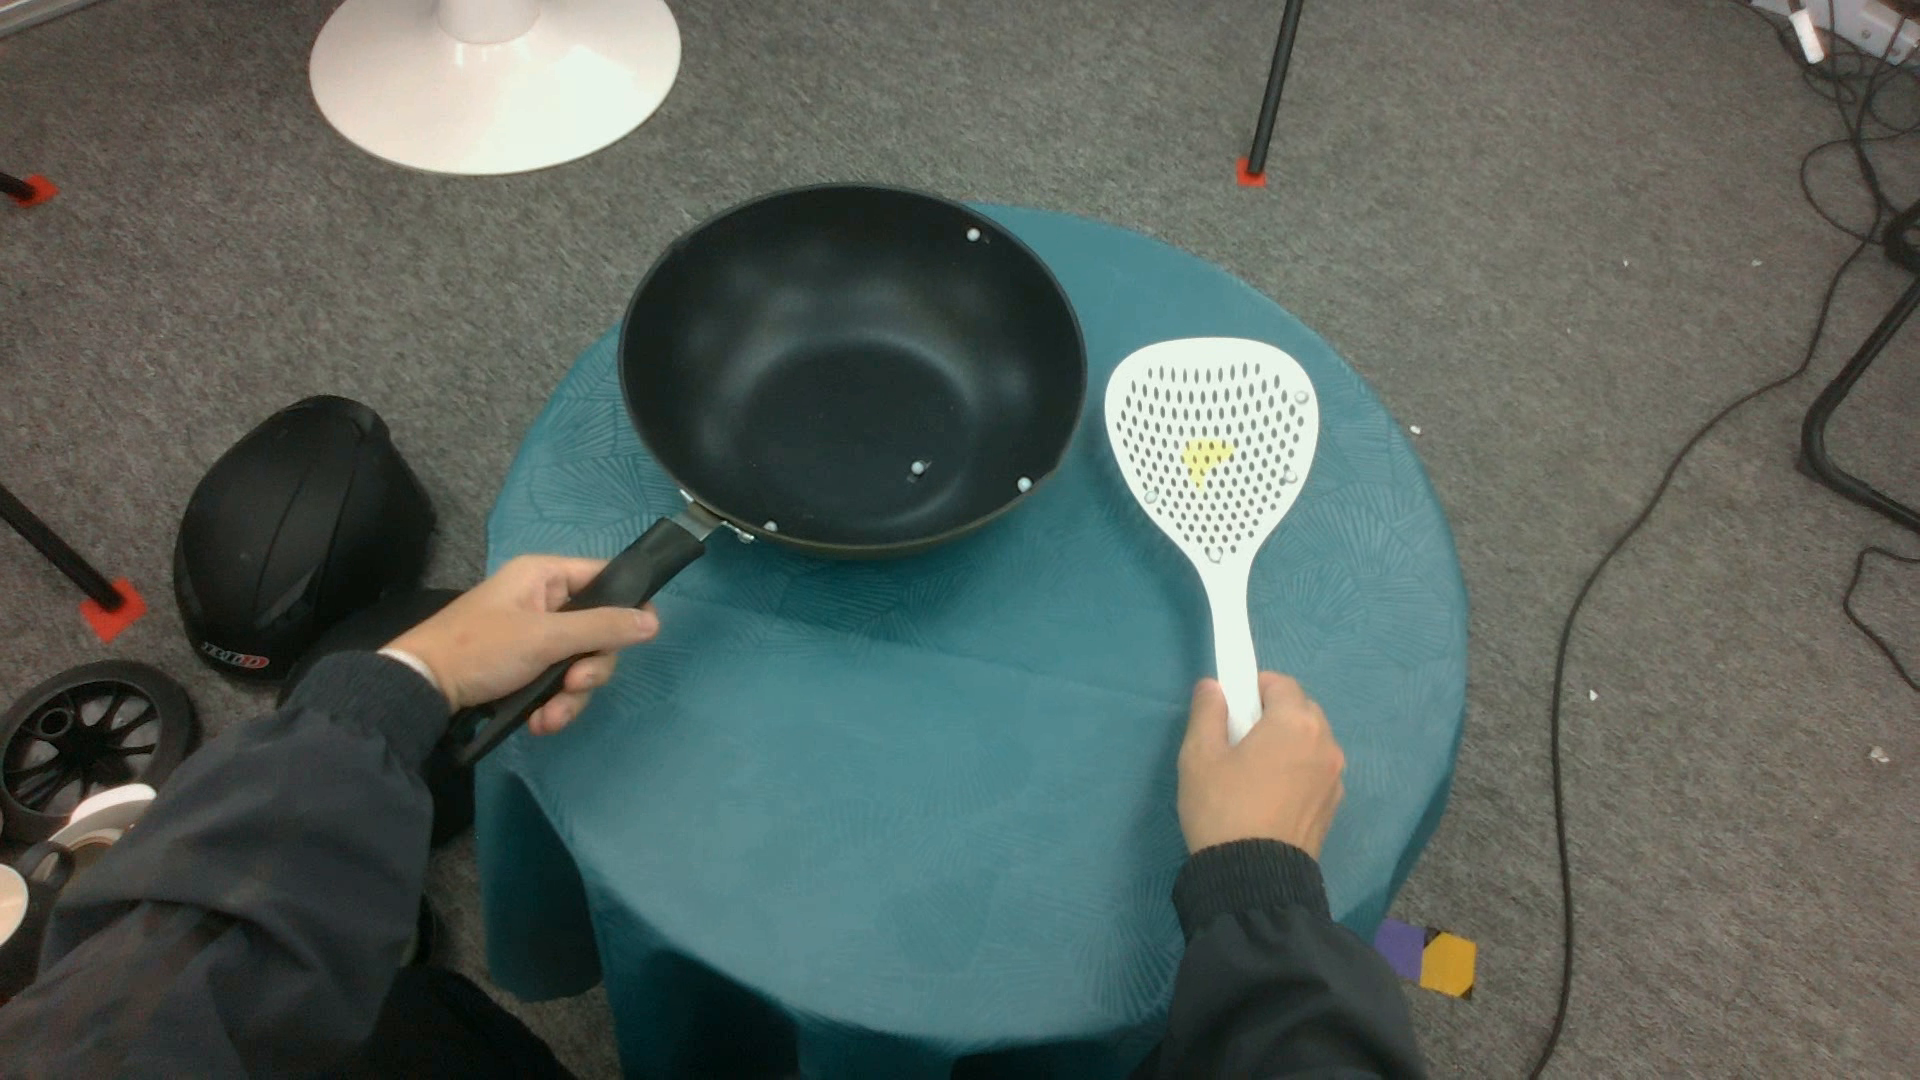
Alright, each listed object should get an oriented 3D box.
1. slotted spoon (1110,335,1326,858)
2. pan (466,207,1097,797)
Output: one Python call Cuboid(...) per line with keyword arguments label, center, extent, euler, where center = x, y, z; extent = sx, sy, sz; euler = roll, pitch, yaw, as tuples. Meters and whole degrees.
Cuboid(label="slotted spoon", center=(0.169, 0.019, 0.833), extent=(0.137, 0.050, 0.349), euler=(-4, 54, 3))
Cuboid(label="pan", center=(-0.108, -0.017, 0.829), extent=(0.288, 0.086, 0.465), euler=(30, 62, 17))
